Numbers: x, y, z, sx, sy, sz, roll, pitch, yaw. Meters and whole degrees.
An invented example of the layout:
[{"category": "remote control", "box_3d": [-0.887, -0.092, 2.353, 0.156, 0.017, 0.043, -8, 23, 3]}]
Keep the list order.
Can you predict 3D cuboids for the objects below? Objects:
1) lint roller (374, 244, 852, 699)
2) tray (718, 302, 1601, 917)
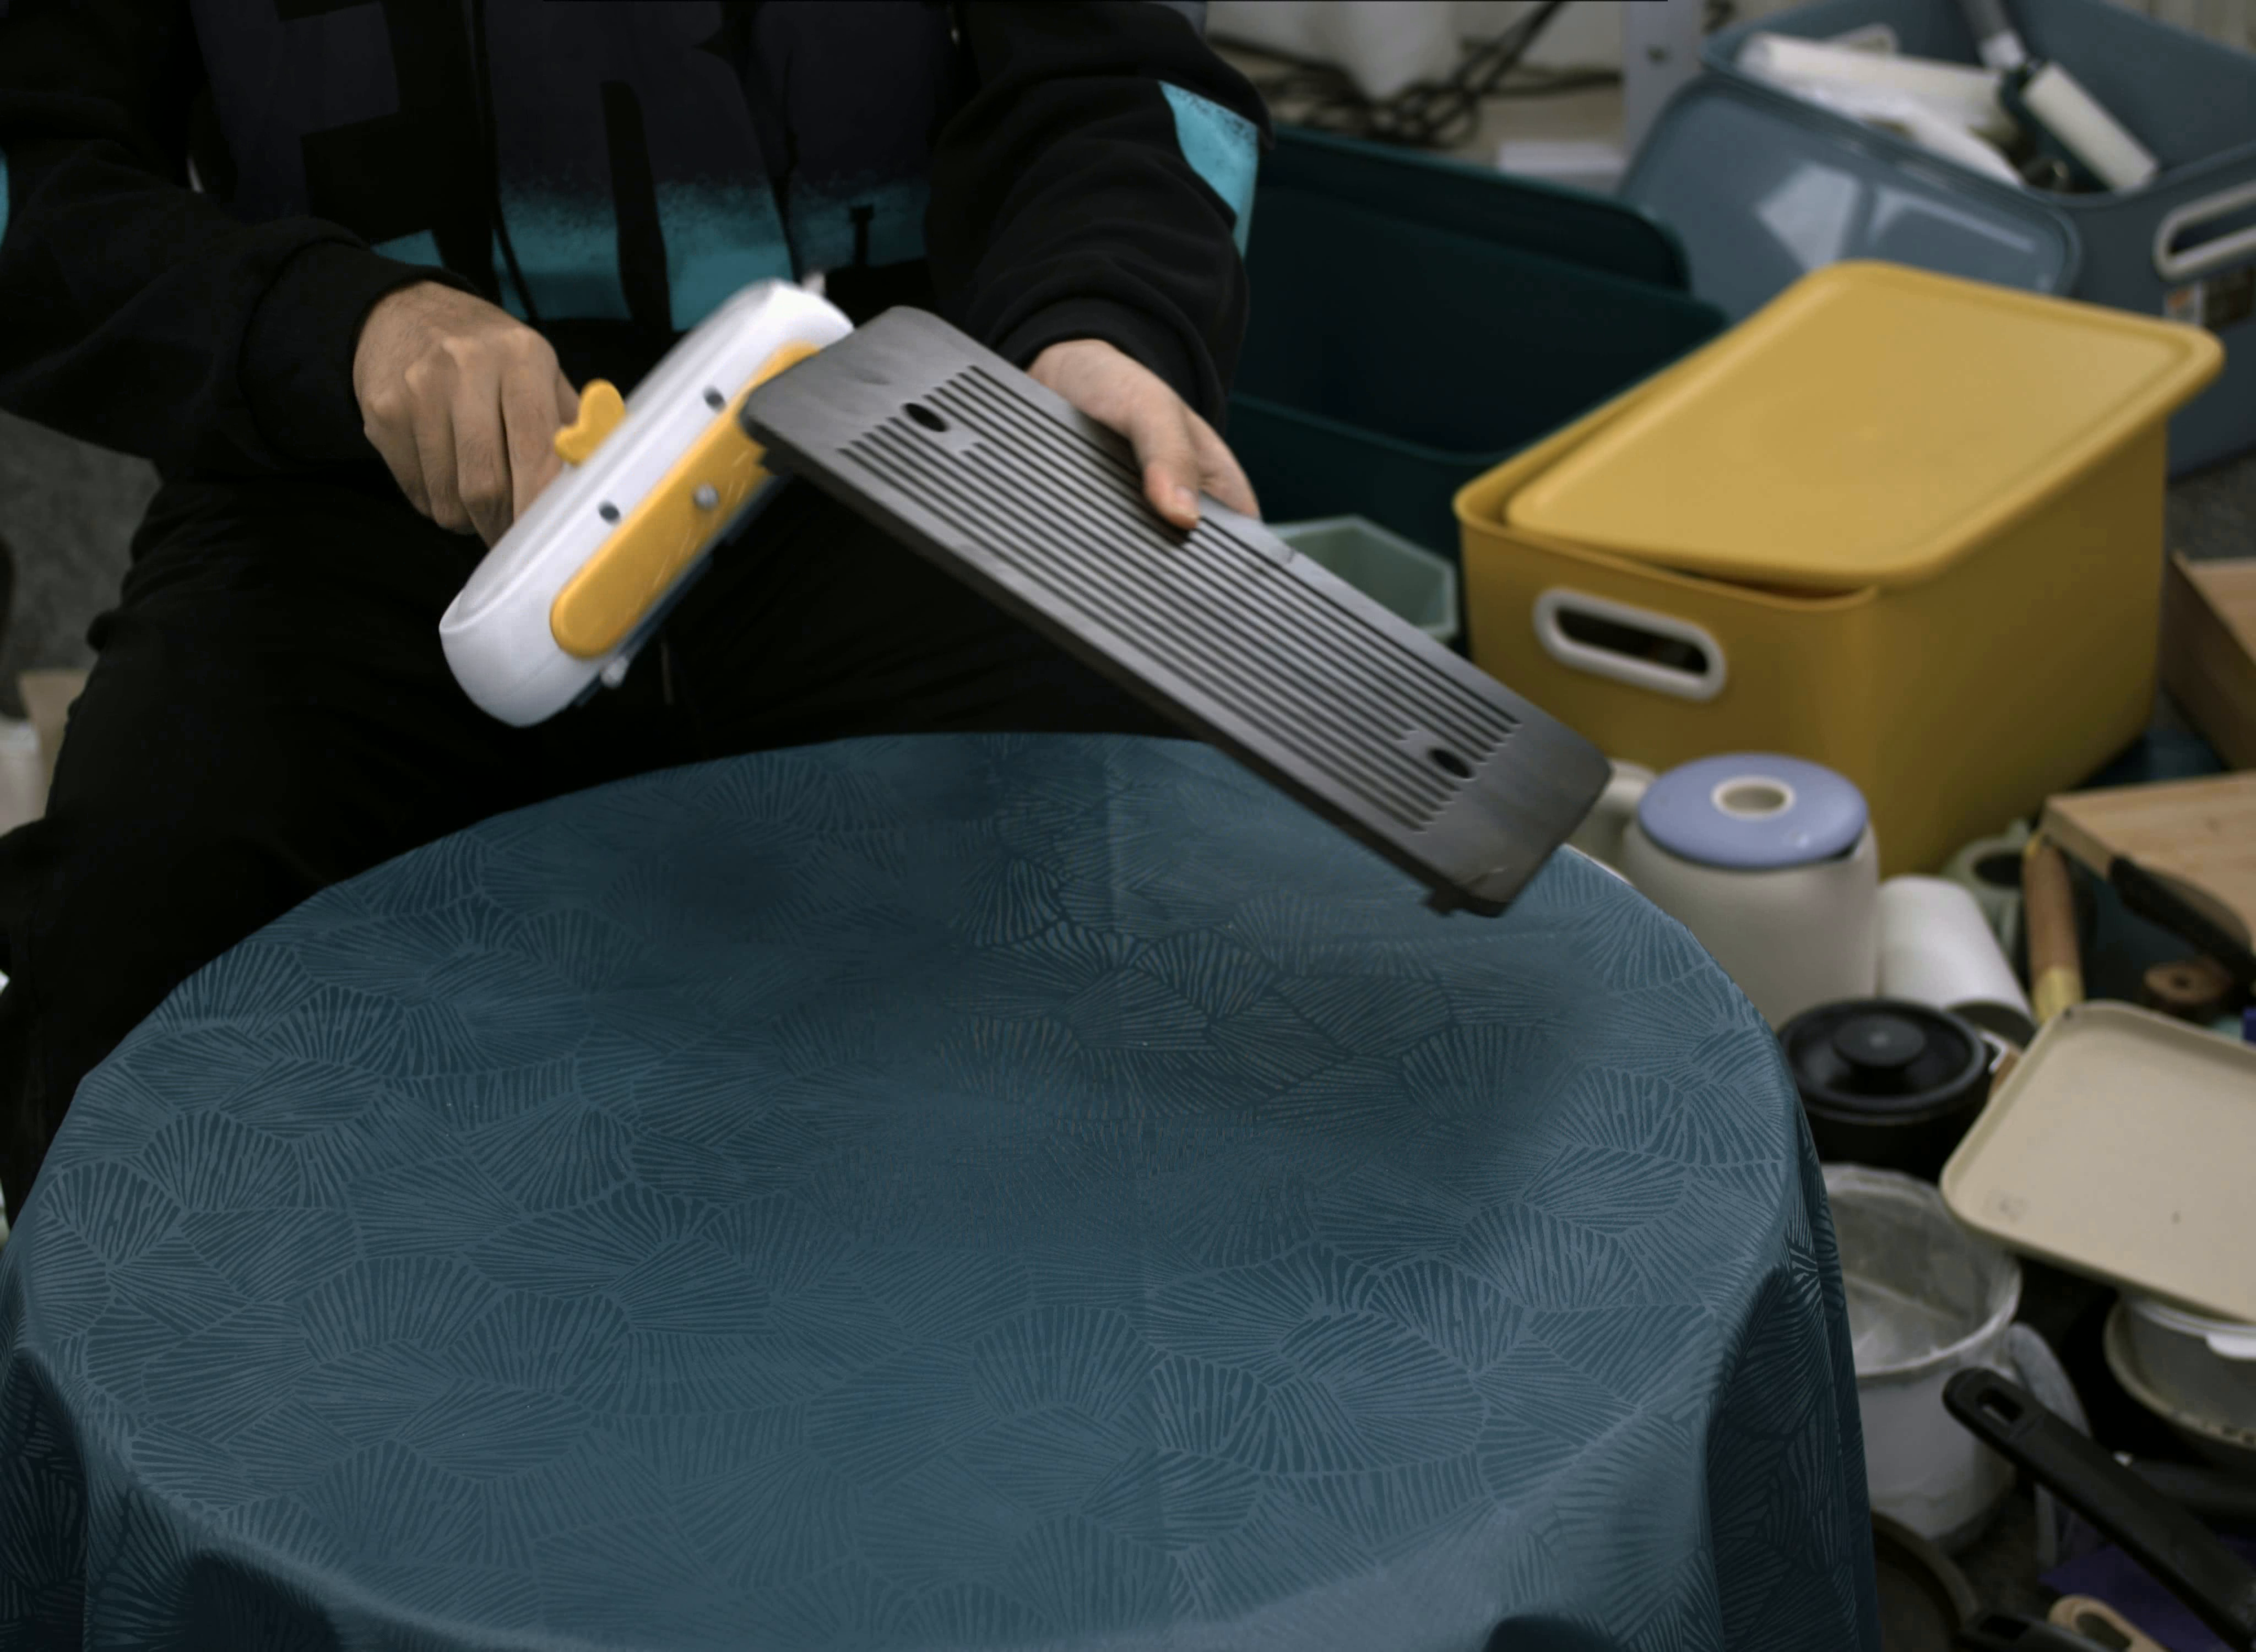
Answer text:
[{"category": "lint roller", "box_3d": [-0.206, -0.130, 2.026, 0.191, 0.074, 0.195, 0, 50, 57]}, {"category": "tray", "box_3d": [0.013, -0.075, 1.911, 0.305, 0.018, 0.172, 33, 25, 7]}]
